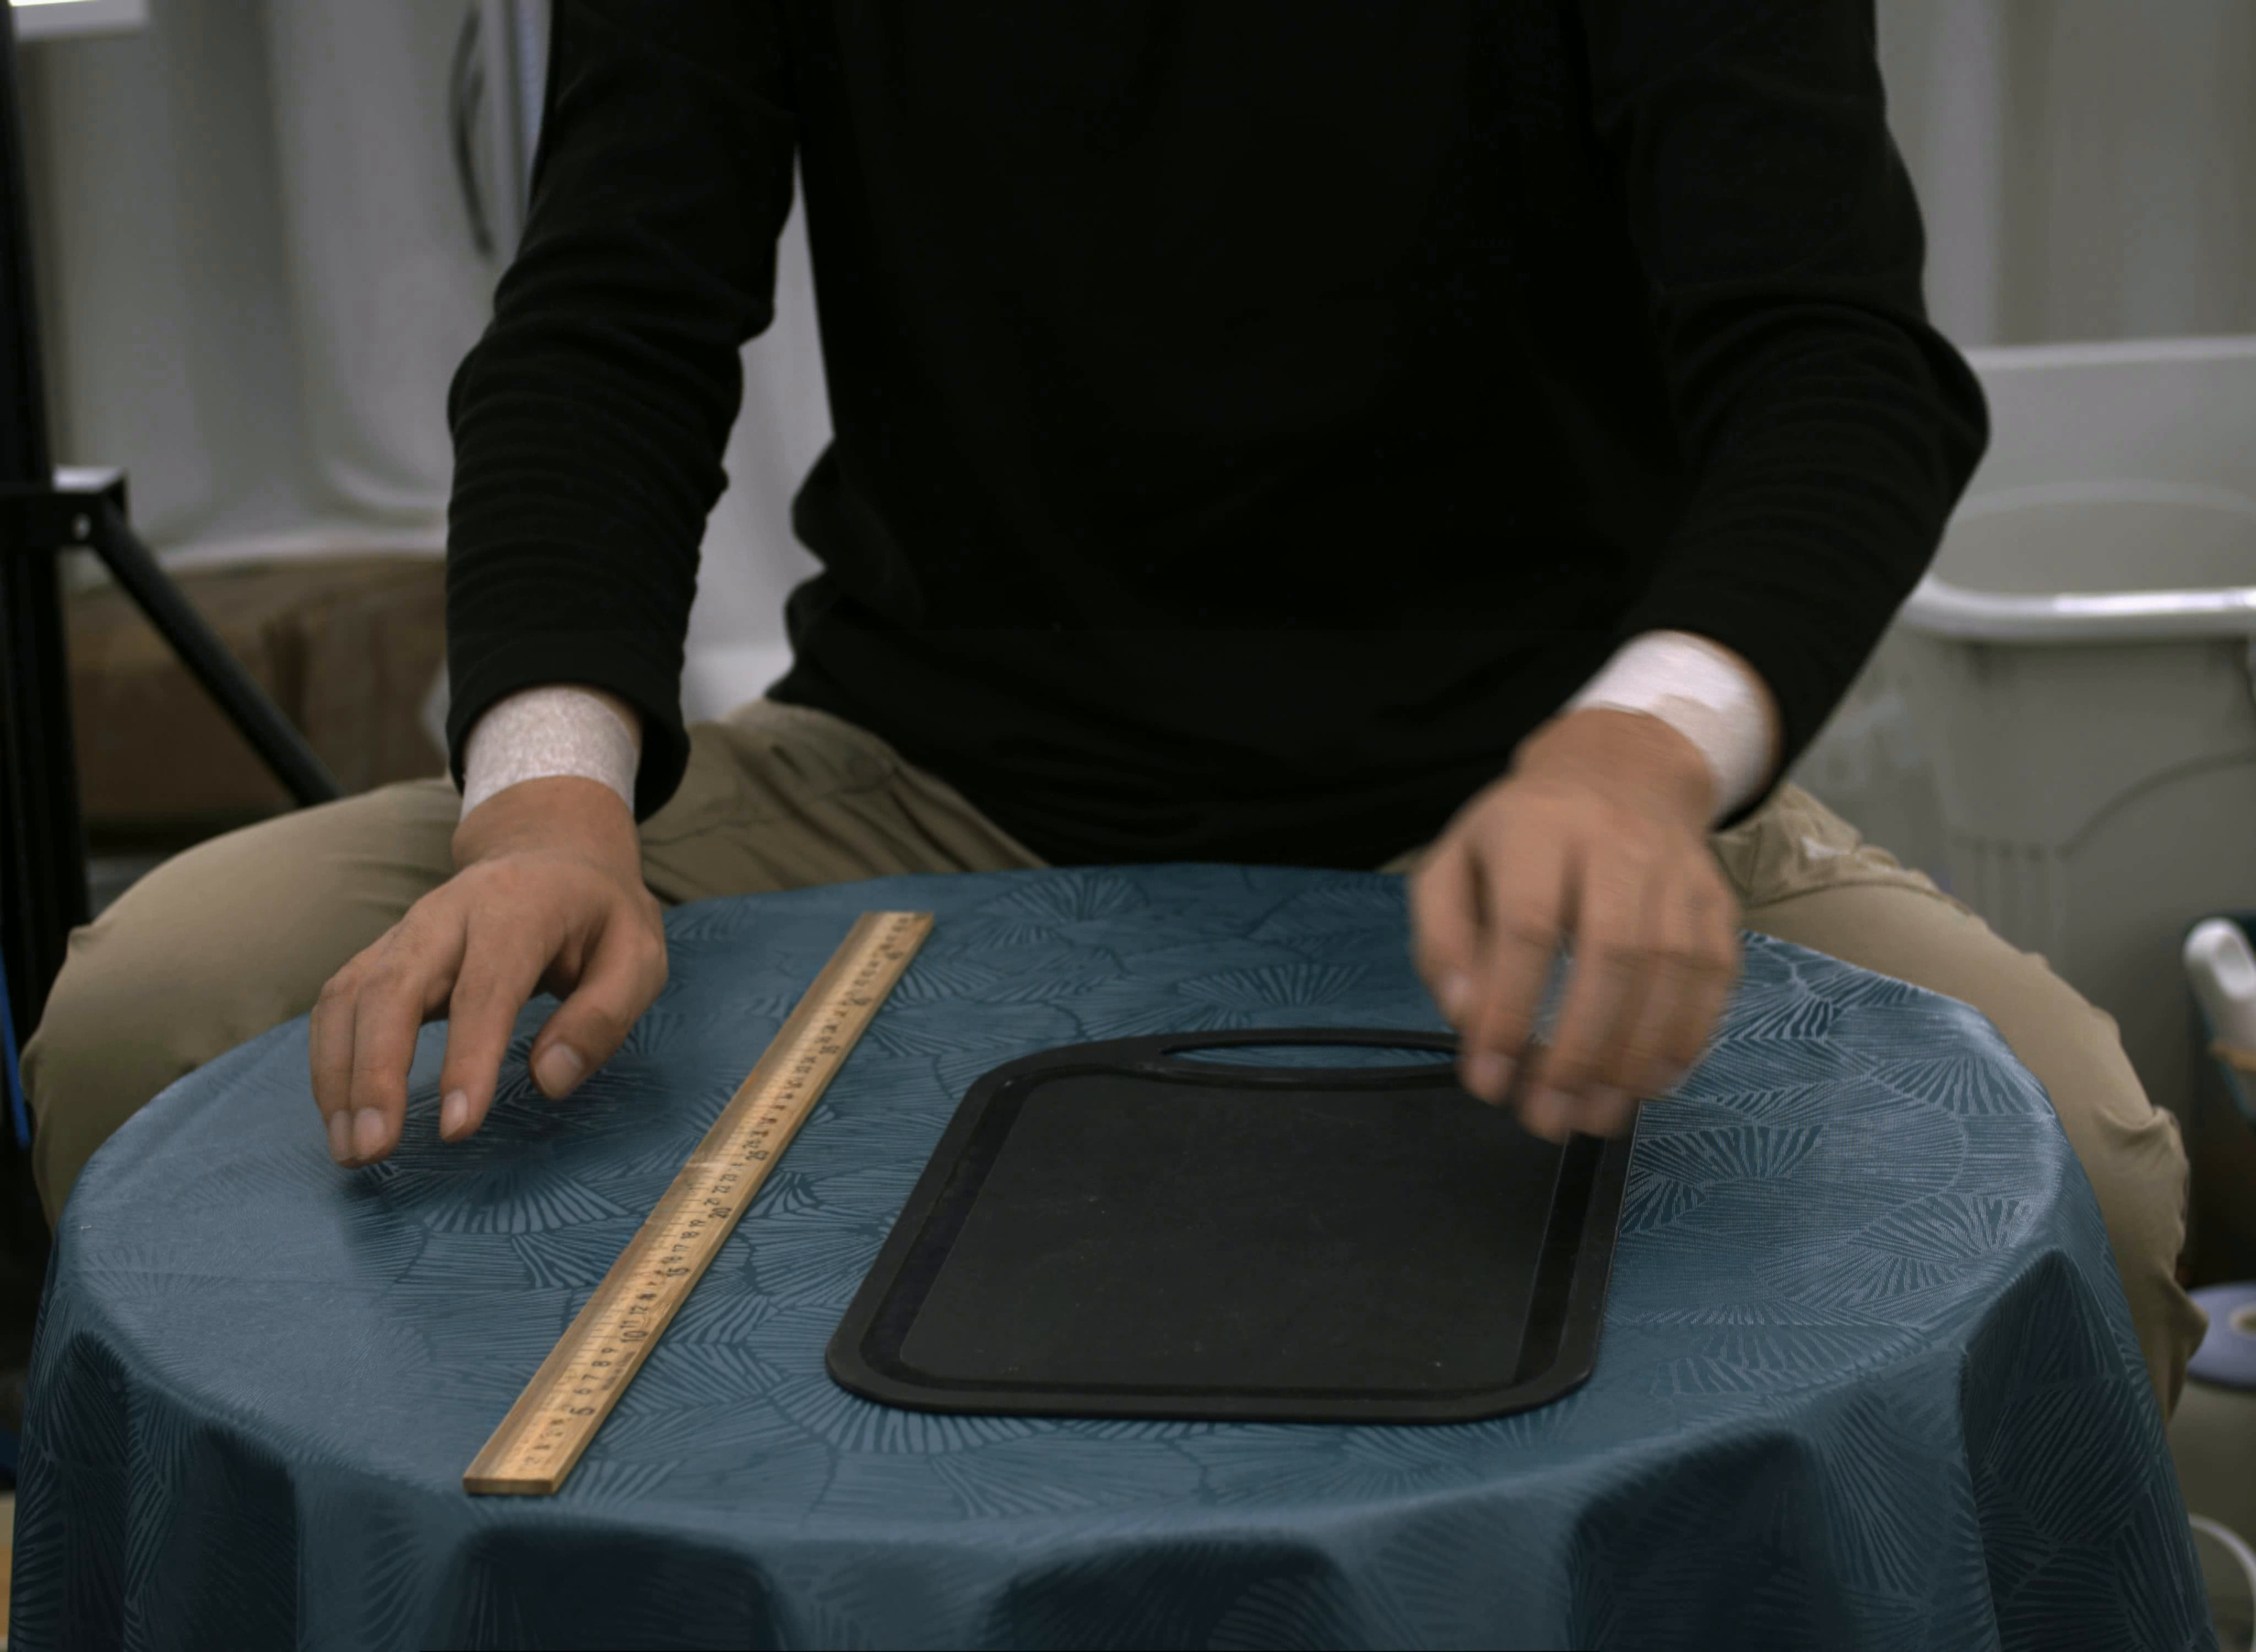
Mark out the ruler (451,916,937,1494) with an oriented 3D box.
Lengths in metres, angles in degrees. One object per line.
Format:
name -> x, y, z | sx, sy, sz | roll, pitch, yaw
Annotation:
ruler -> -0.118, 0.101, 1.593 | 0.027, 0.006, 0.498 | 3, 16, 9

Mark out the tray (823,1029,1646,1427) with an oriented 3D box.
tray -> 0.039, 0.109, 1.535 | 0.212, 0.010, 0.324 | 0, 16, 10
